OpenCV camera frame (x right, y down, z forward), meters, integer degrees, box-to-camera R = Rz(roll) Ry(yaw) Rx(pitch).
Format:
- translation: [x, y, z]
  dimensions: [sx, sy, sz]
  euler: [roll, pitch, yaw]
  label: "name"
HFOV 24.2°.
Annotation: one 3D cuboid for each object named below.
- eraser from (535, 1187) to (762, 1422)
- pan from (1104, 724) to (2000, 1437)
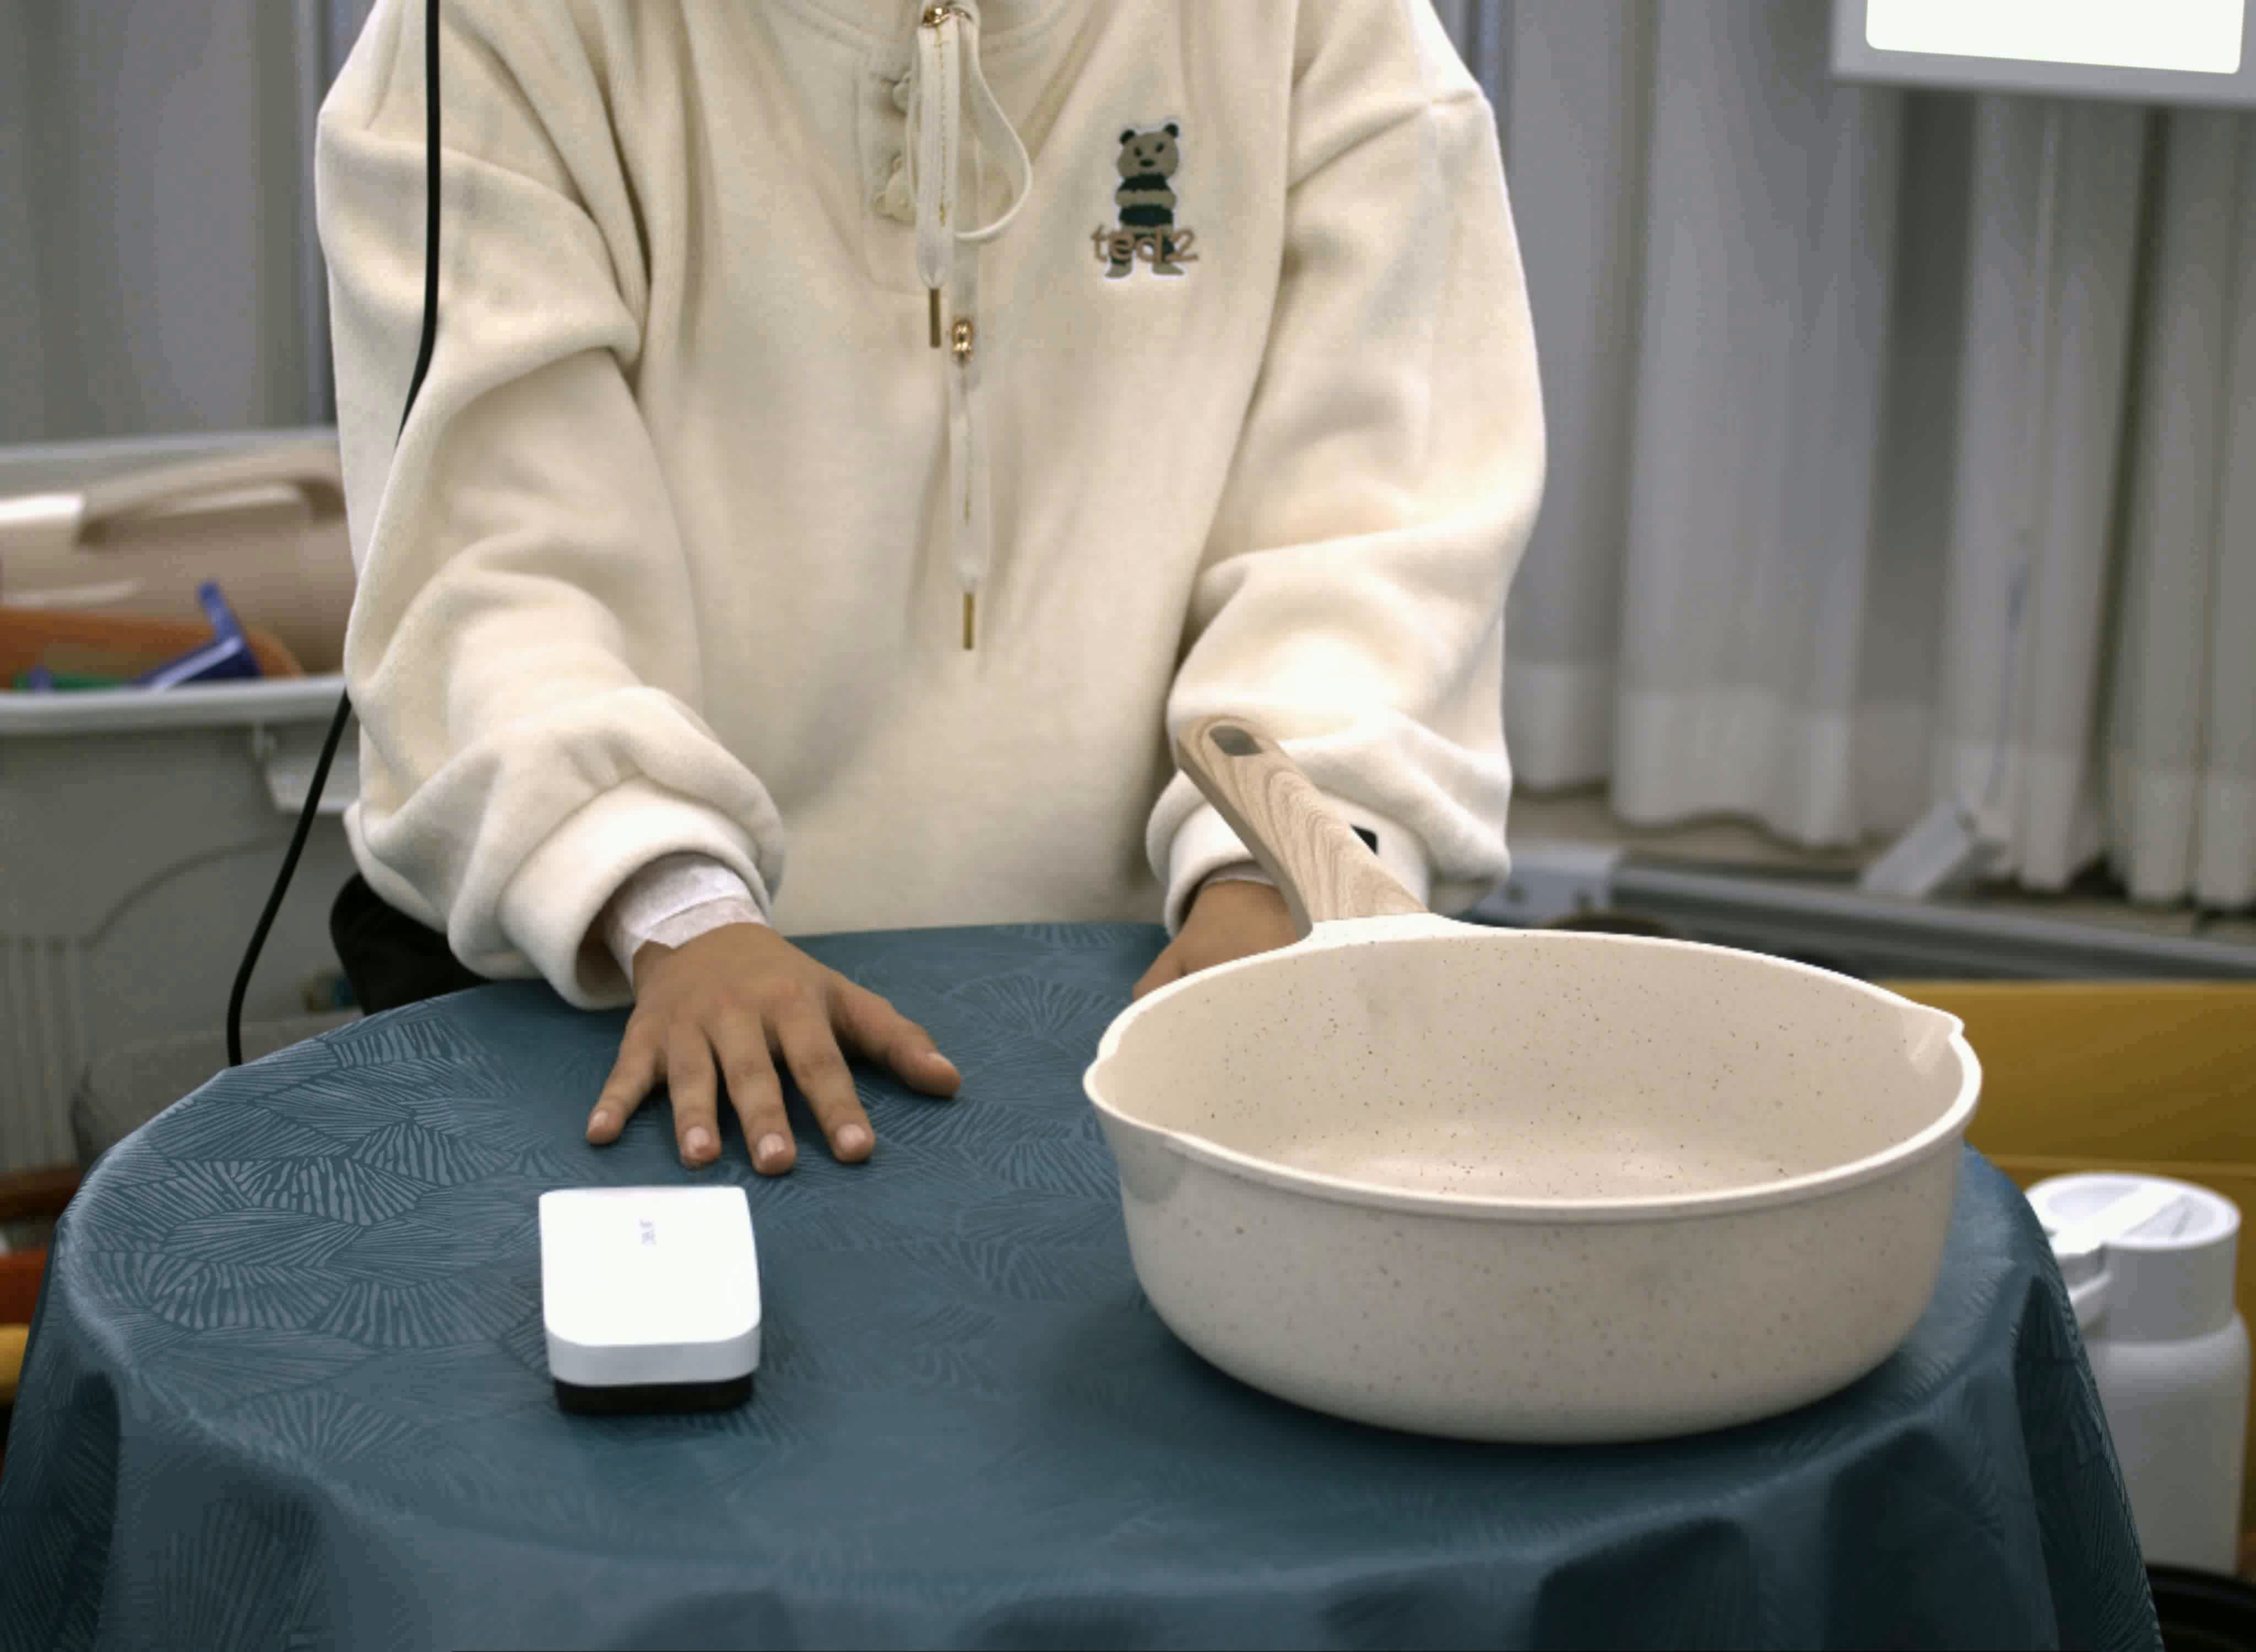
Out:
- translation: [-0.136, 0.131, 1.493]
  dimensions: [0.063, 0.035, 0.130]
  euler: [1, 16, -8]
  label: "eraser"
- translation: [0.093, 0.070, 1.584]
  dimensions: [0.264, 0.103, 0.430]
  euler: [-6, 17, -17]
  label: "pan"
